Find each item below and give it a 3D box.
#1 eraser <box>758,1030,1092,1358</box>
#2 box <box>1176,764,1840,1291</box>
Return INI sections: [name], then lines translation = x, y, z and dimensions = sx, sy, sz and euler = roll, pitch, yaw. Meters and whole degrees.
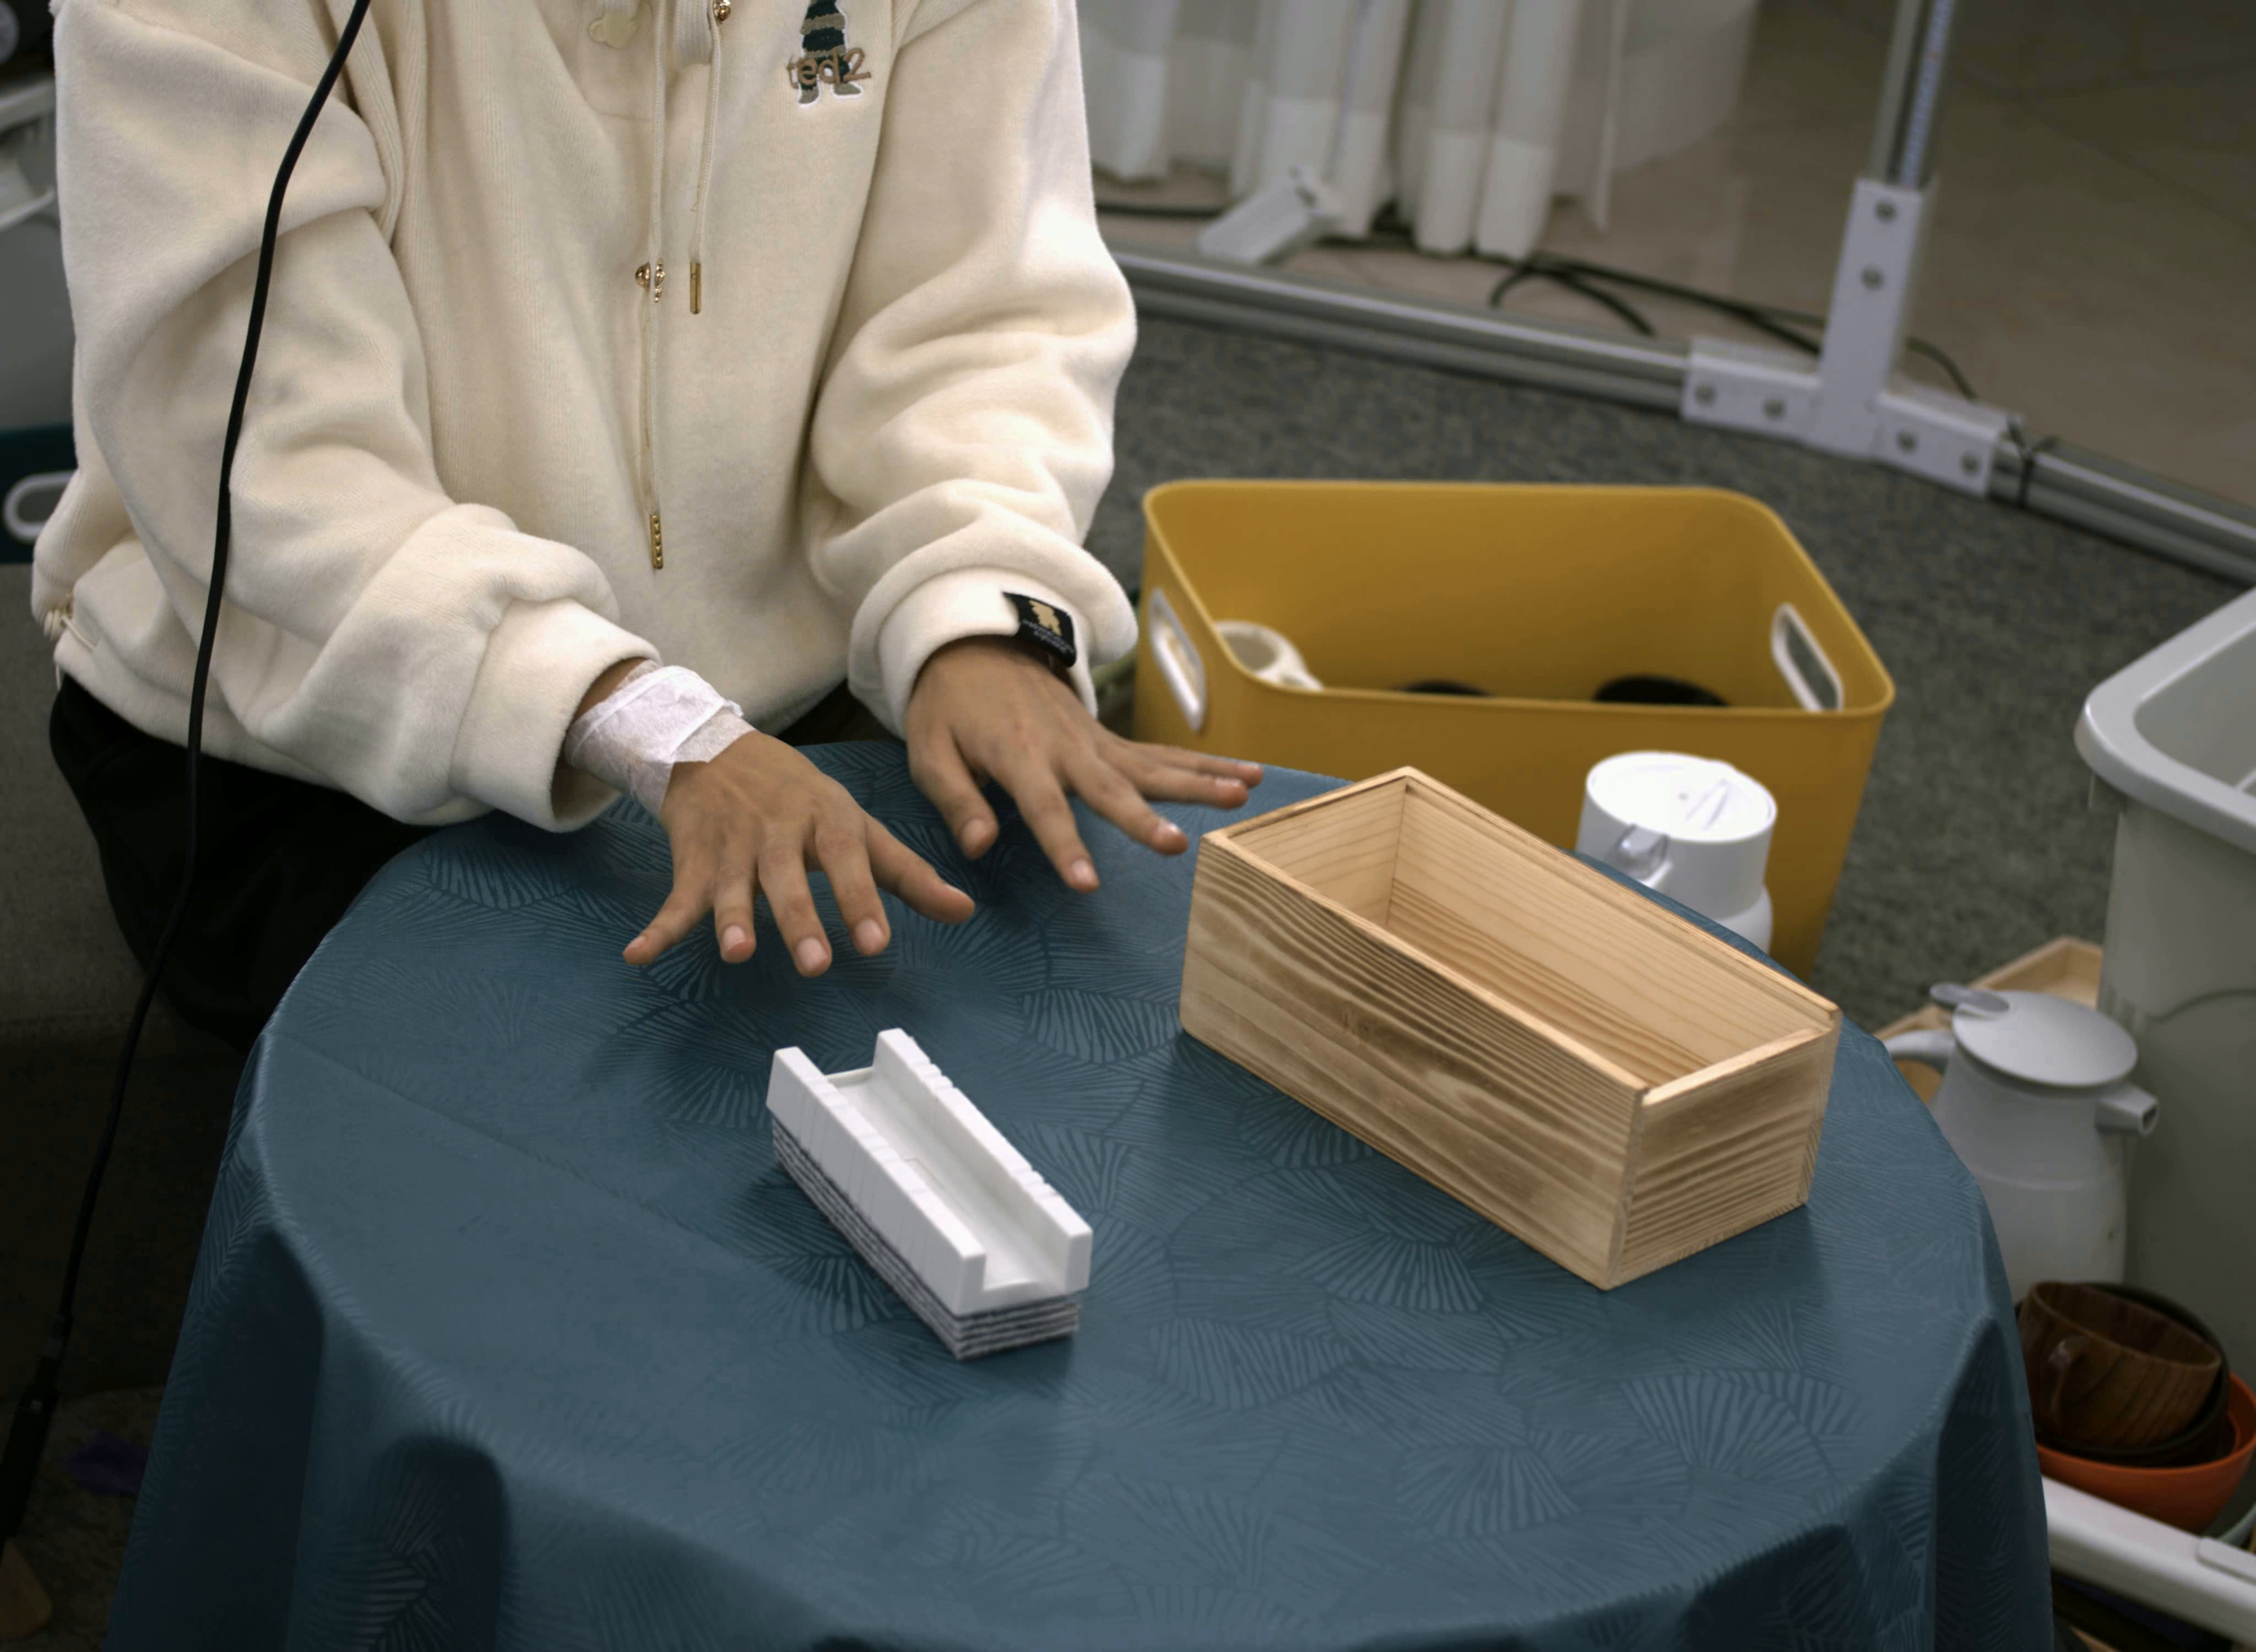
[eraser]
translation = -0.068, 0.120, 1.743
dimensions = 0.049, 0.046, 0.135
euler = -12, 34, -30
[box]
translation = 0.129, 0.066, 1.856
dimensions = 0.107, 0.080, 0.213
euler = -18, 36, -40
